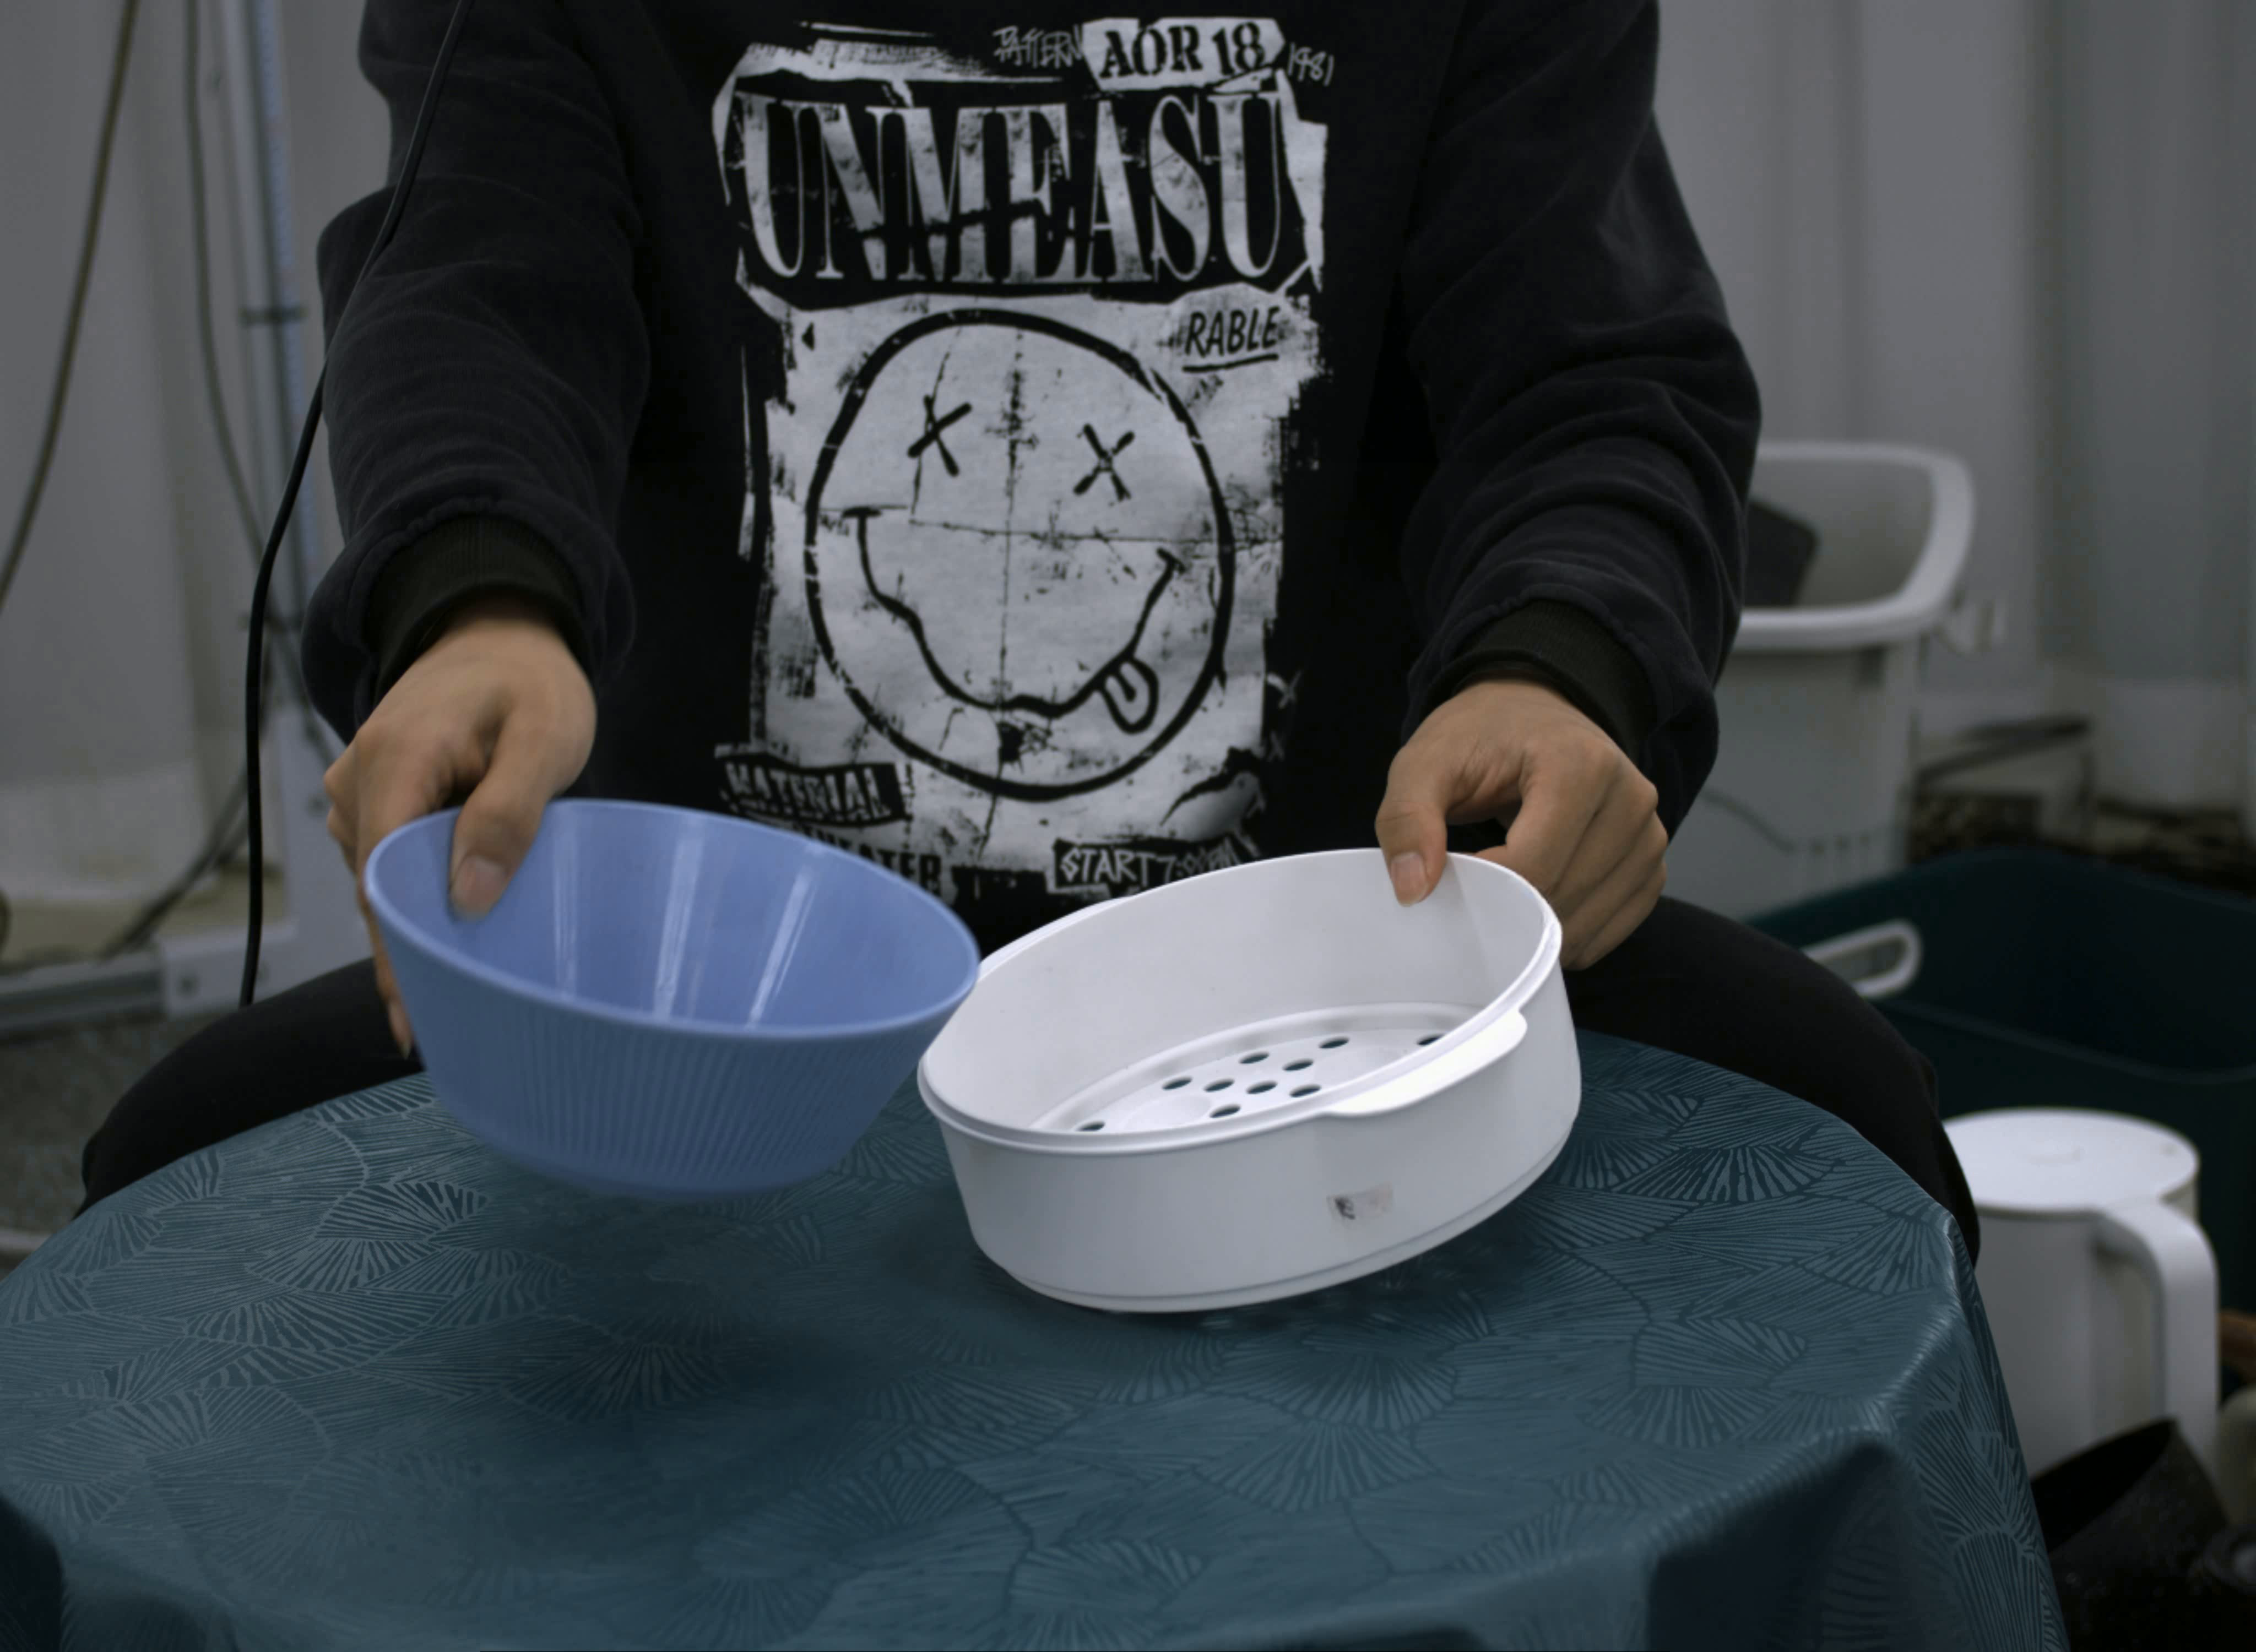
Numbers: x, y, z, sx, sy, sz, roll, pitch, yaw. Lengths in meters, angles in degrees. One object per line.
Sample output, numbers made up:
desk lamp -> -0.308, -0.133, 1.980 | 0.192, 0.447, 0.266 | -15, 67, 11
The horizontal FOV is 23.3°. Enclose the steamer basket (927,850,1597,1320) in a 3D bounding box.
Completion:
steamer basket -> 0.043, 0.078, 1.656 | 0.202, 0.069, 0.232 | -25, 25, -28

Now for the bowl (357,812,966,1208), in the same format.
bowl -> -0.138, 0.056, 1.564 | 0.175, 0.070, 0.177 | 10, 18, -4
